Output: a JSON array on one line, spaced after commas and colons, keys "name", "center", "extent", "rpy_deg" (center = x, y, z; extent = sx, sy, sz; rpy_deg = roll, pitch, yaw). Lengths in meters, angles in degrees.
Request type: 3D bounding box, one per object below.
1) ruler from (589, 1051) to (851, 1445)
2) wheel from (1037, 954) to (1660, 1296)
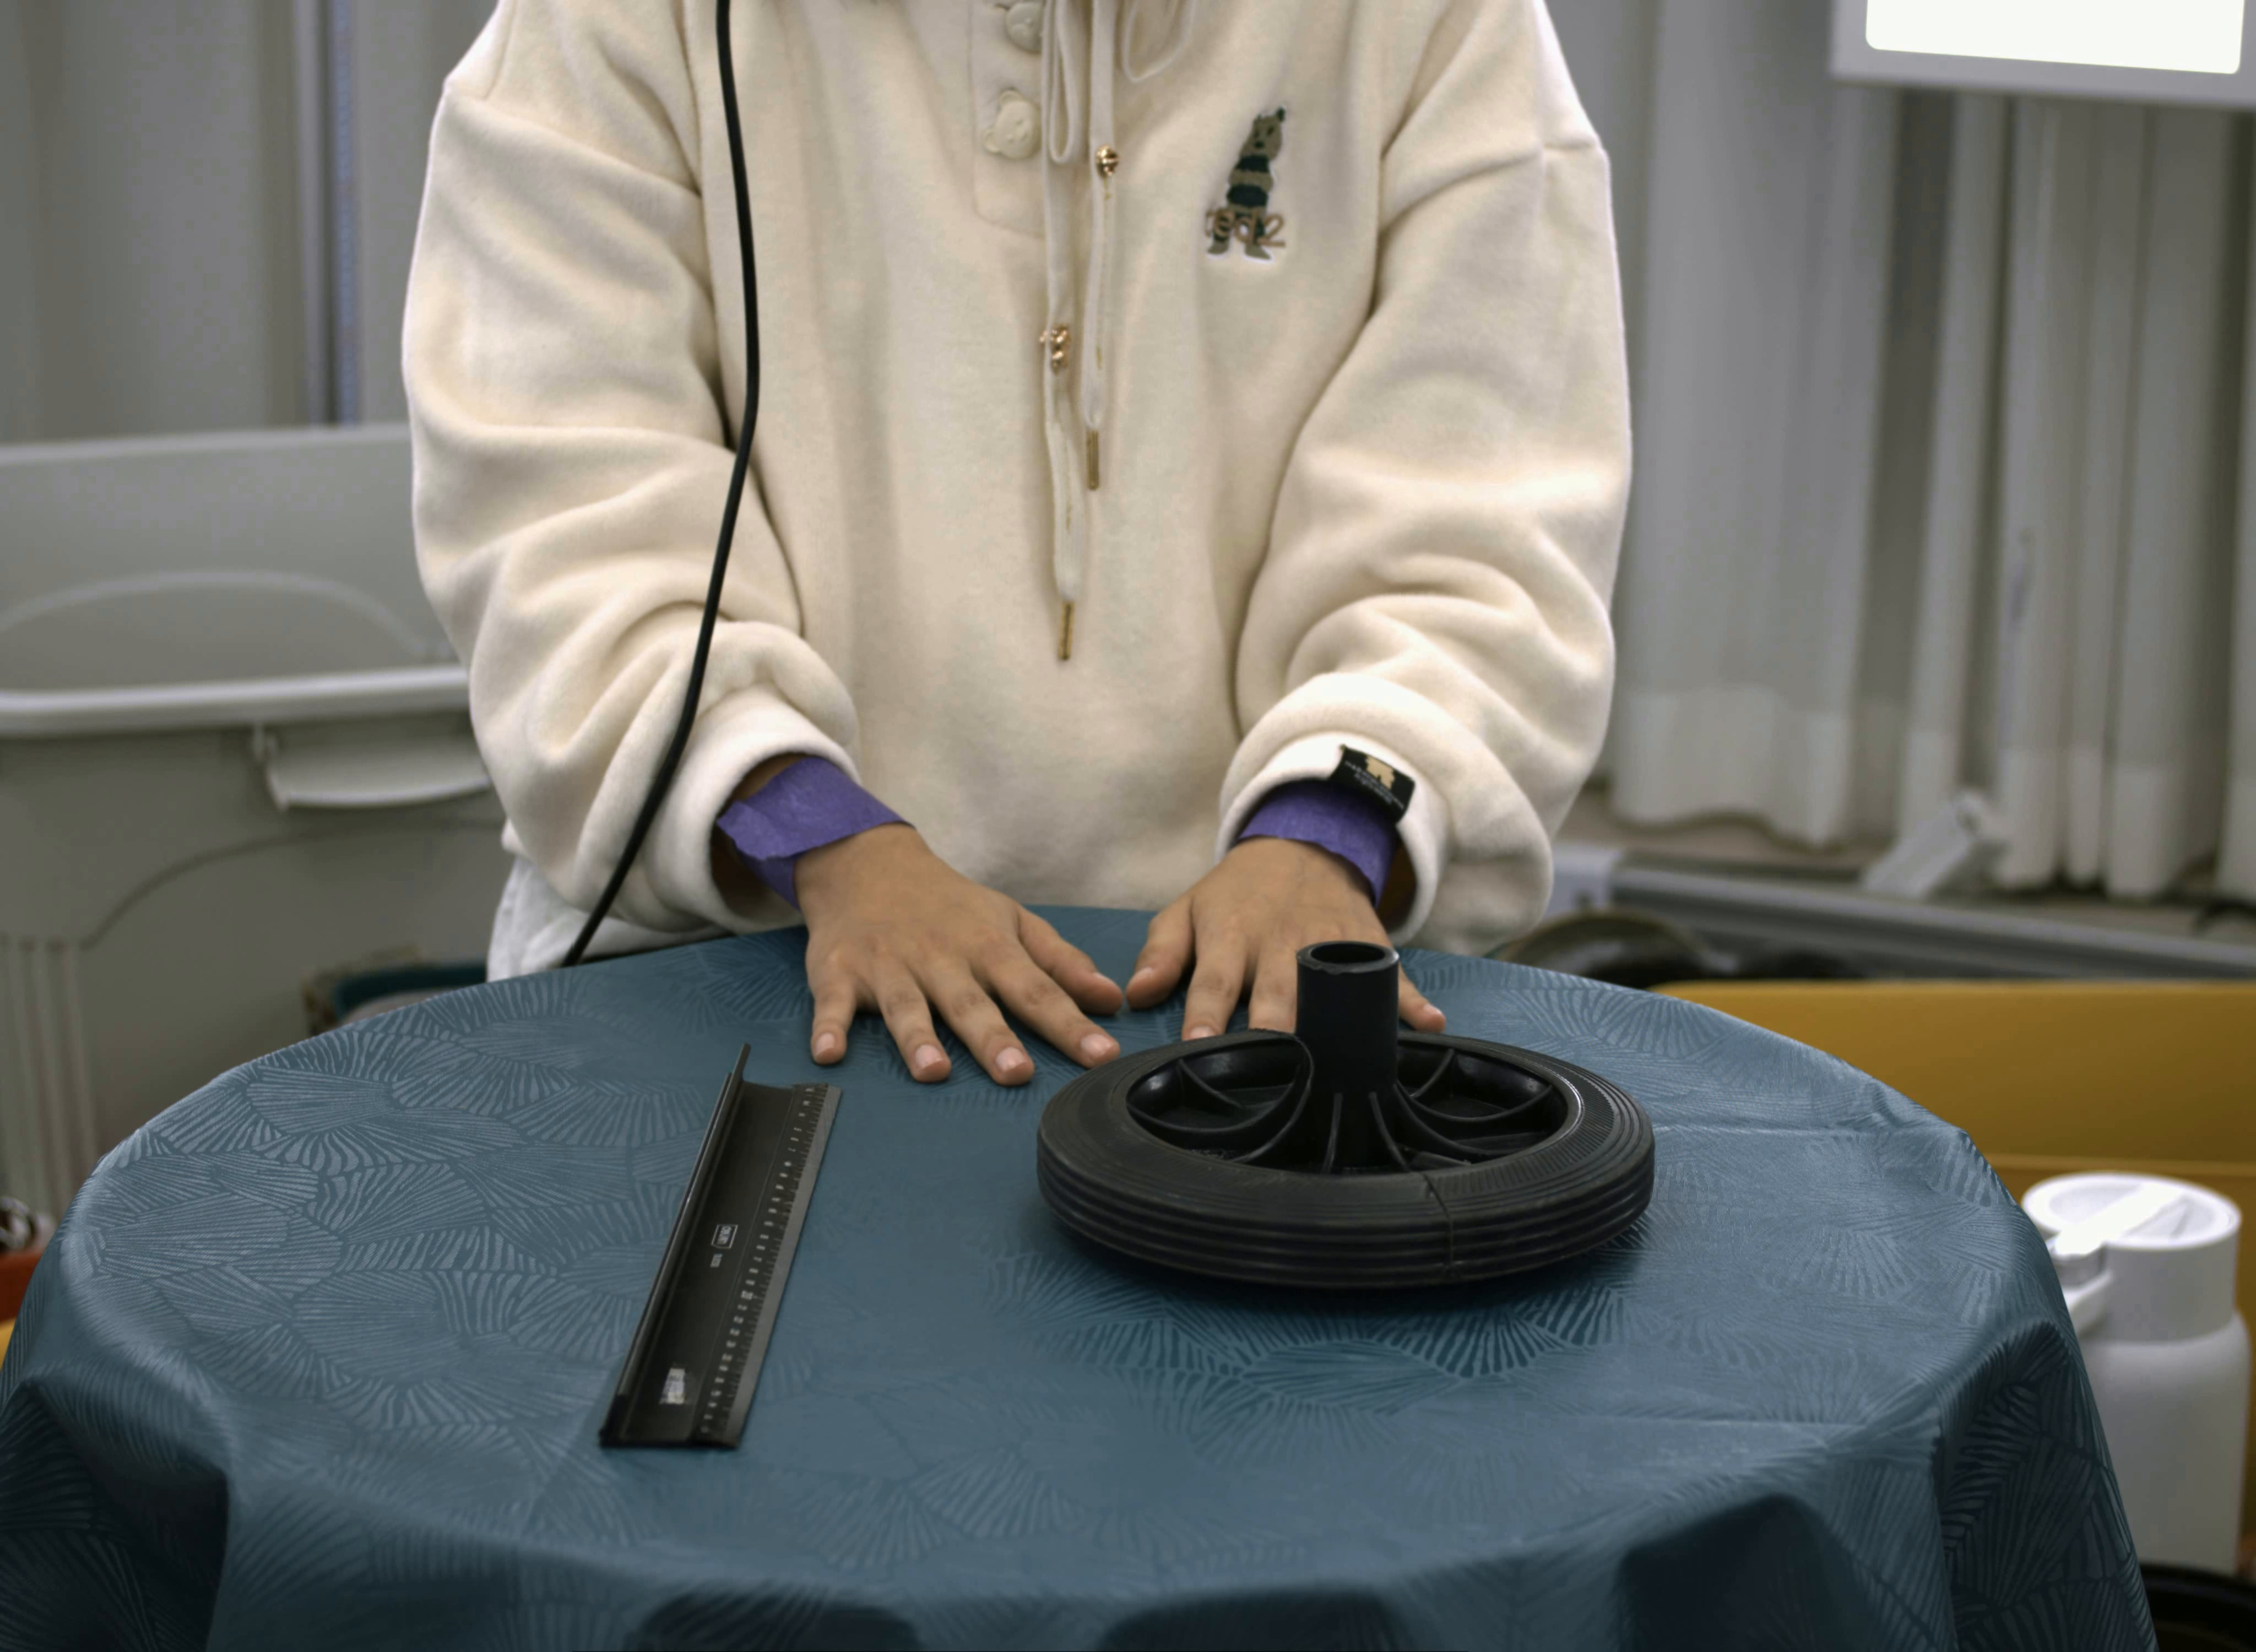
[{"name": "ruler", "center": [-0.117, 0.120, 1.561], "extent": [0.039, 0.017, 0.311], "rpy_deg": [5, 15, 2]}, {"name": "wheel", "center": [0.067, 0.081, 1.594], "extent": [0.188, 0.080, 0.187], "rpy_deg": [6, 17, 18]}]
